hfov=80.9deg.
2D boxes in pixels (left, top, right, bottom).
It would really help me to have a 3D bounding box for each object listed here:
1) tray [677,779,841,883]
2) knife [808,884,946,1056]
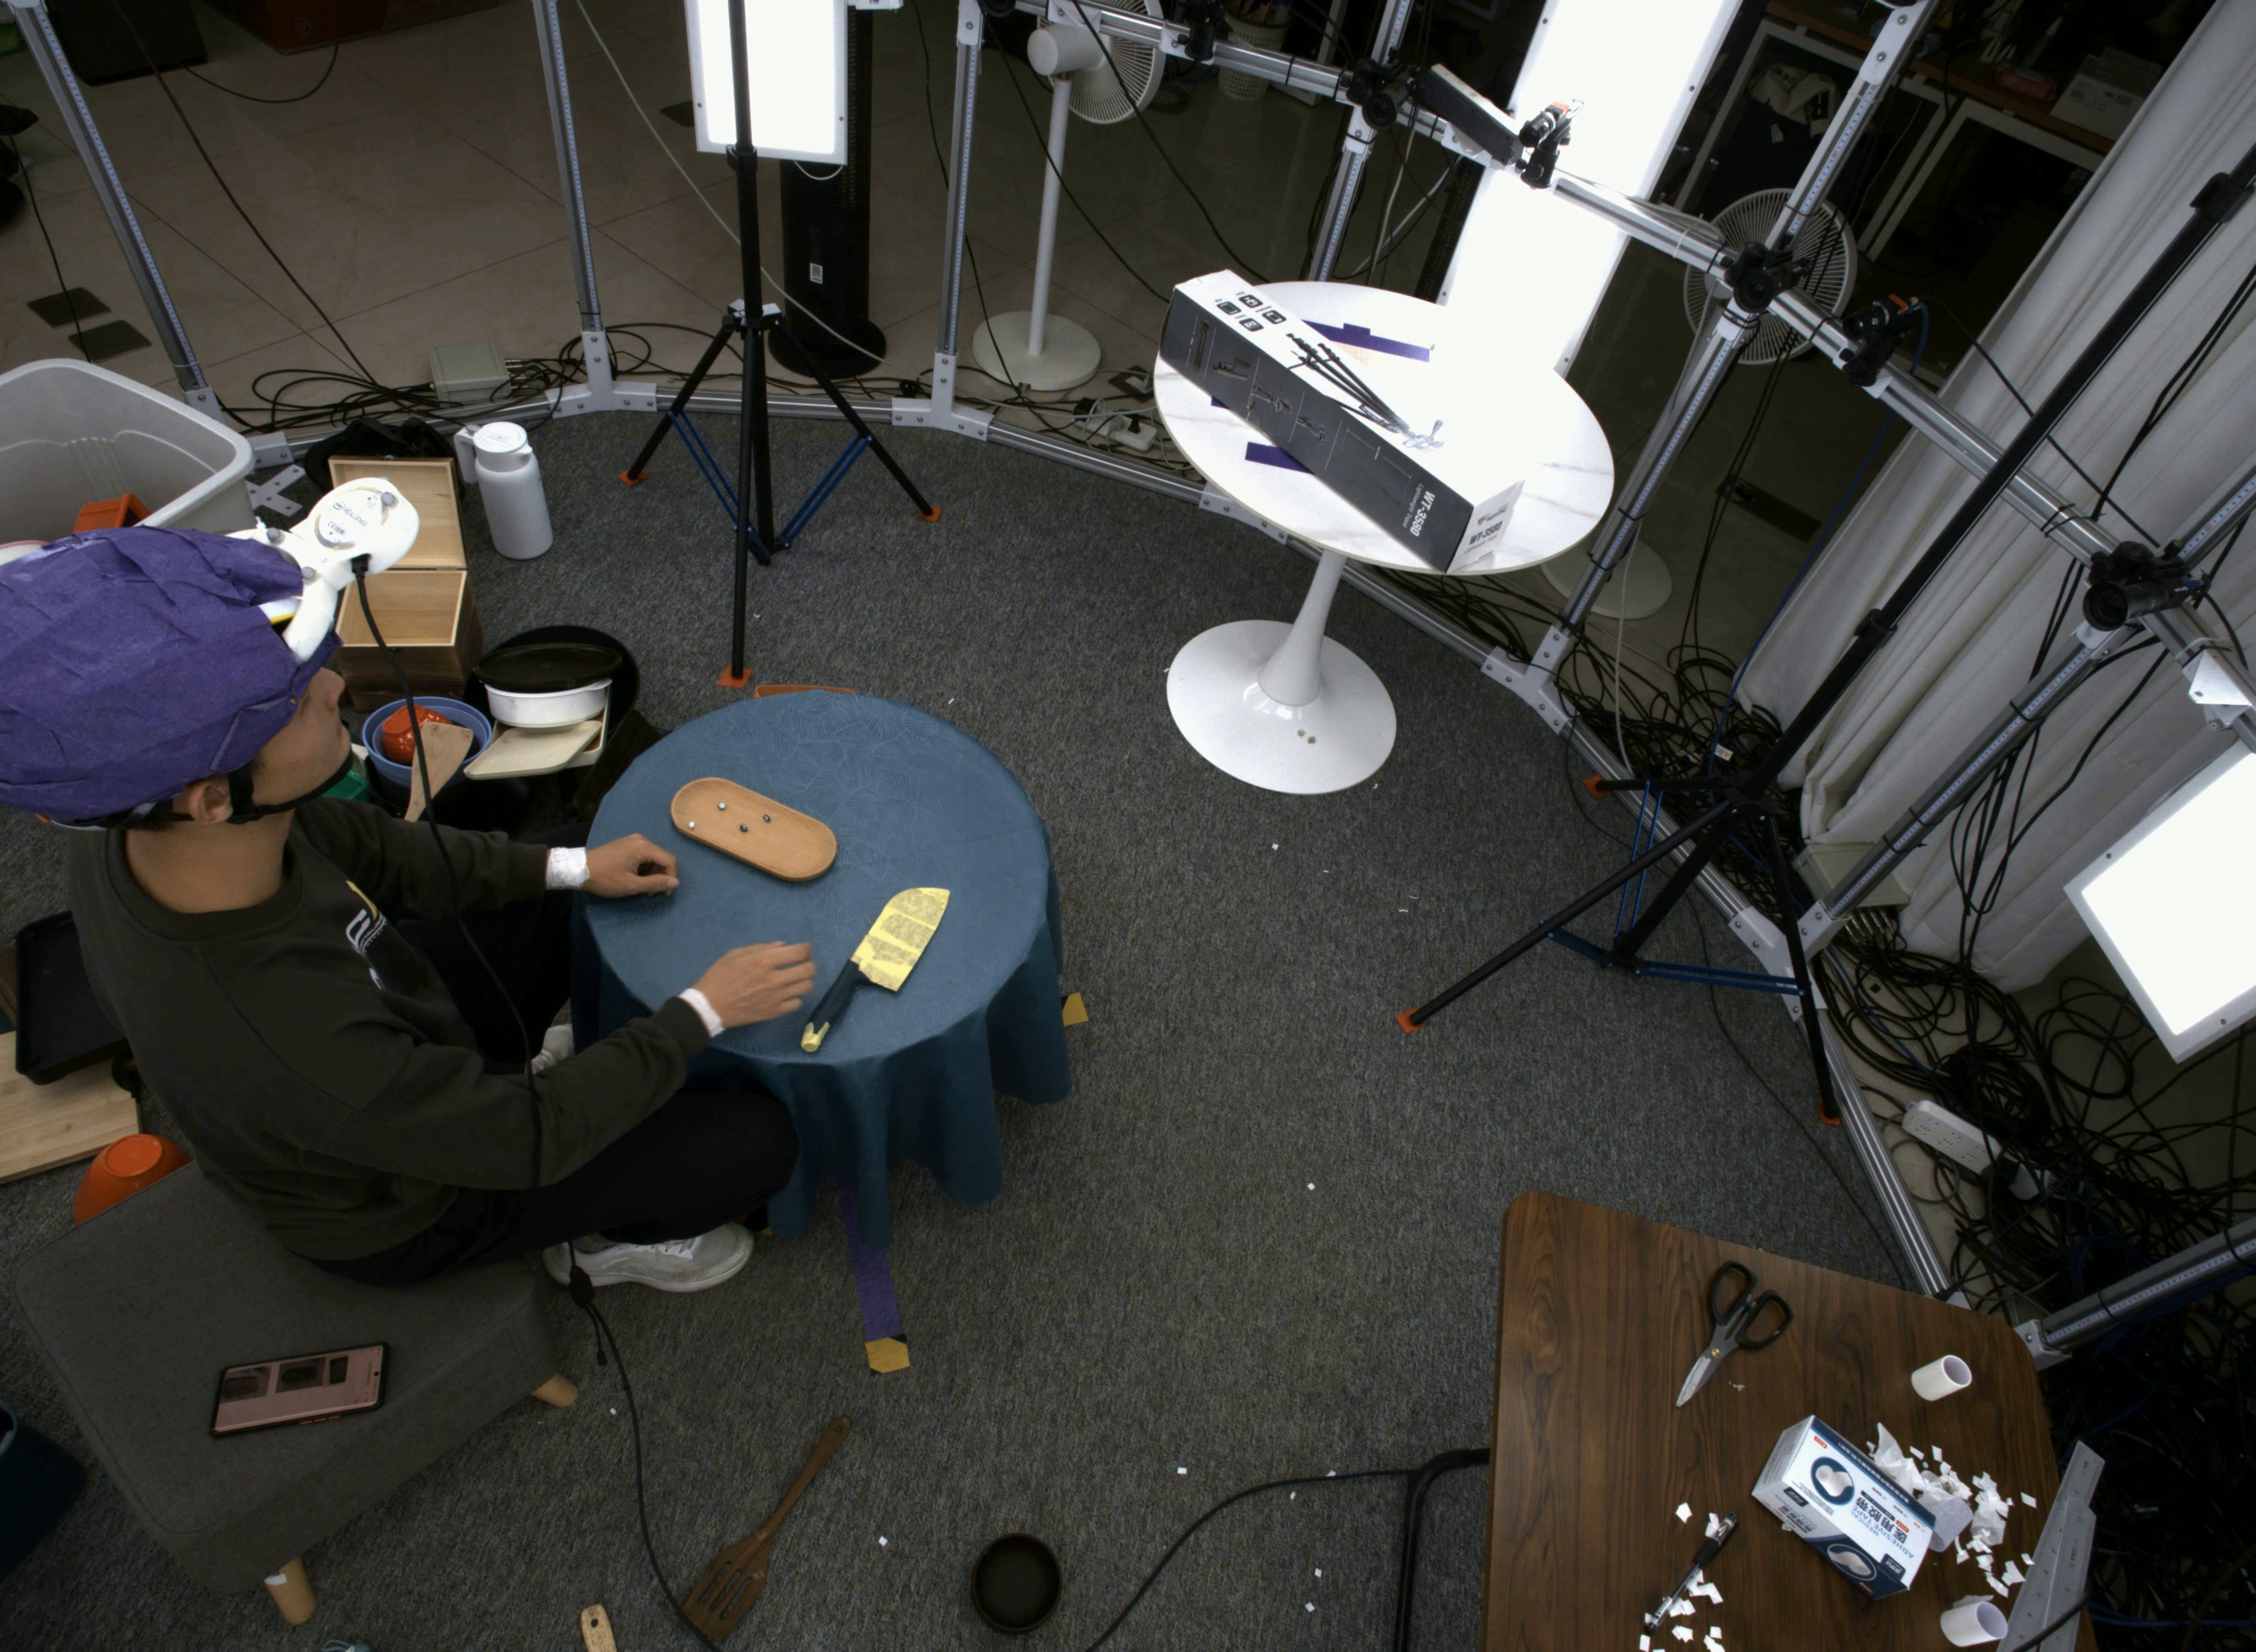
[{"bbox_3d":[-0.487,0.005,1.705,0.229,0.020,0.101,24,54,2],"label":"tray"},{"bbox_3d":[-0.310,0.173,1.627,0.080,0.028,0.287,25,51,7],"label":"knife"}]
